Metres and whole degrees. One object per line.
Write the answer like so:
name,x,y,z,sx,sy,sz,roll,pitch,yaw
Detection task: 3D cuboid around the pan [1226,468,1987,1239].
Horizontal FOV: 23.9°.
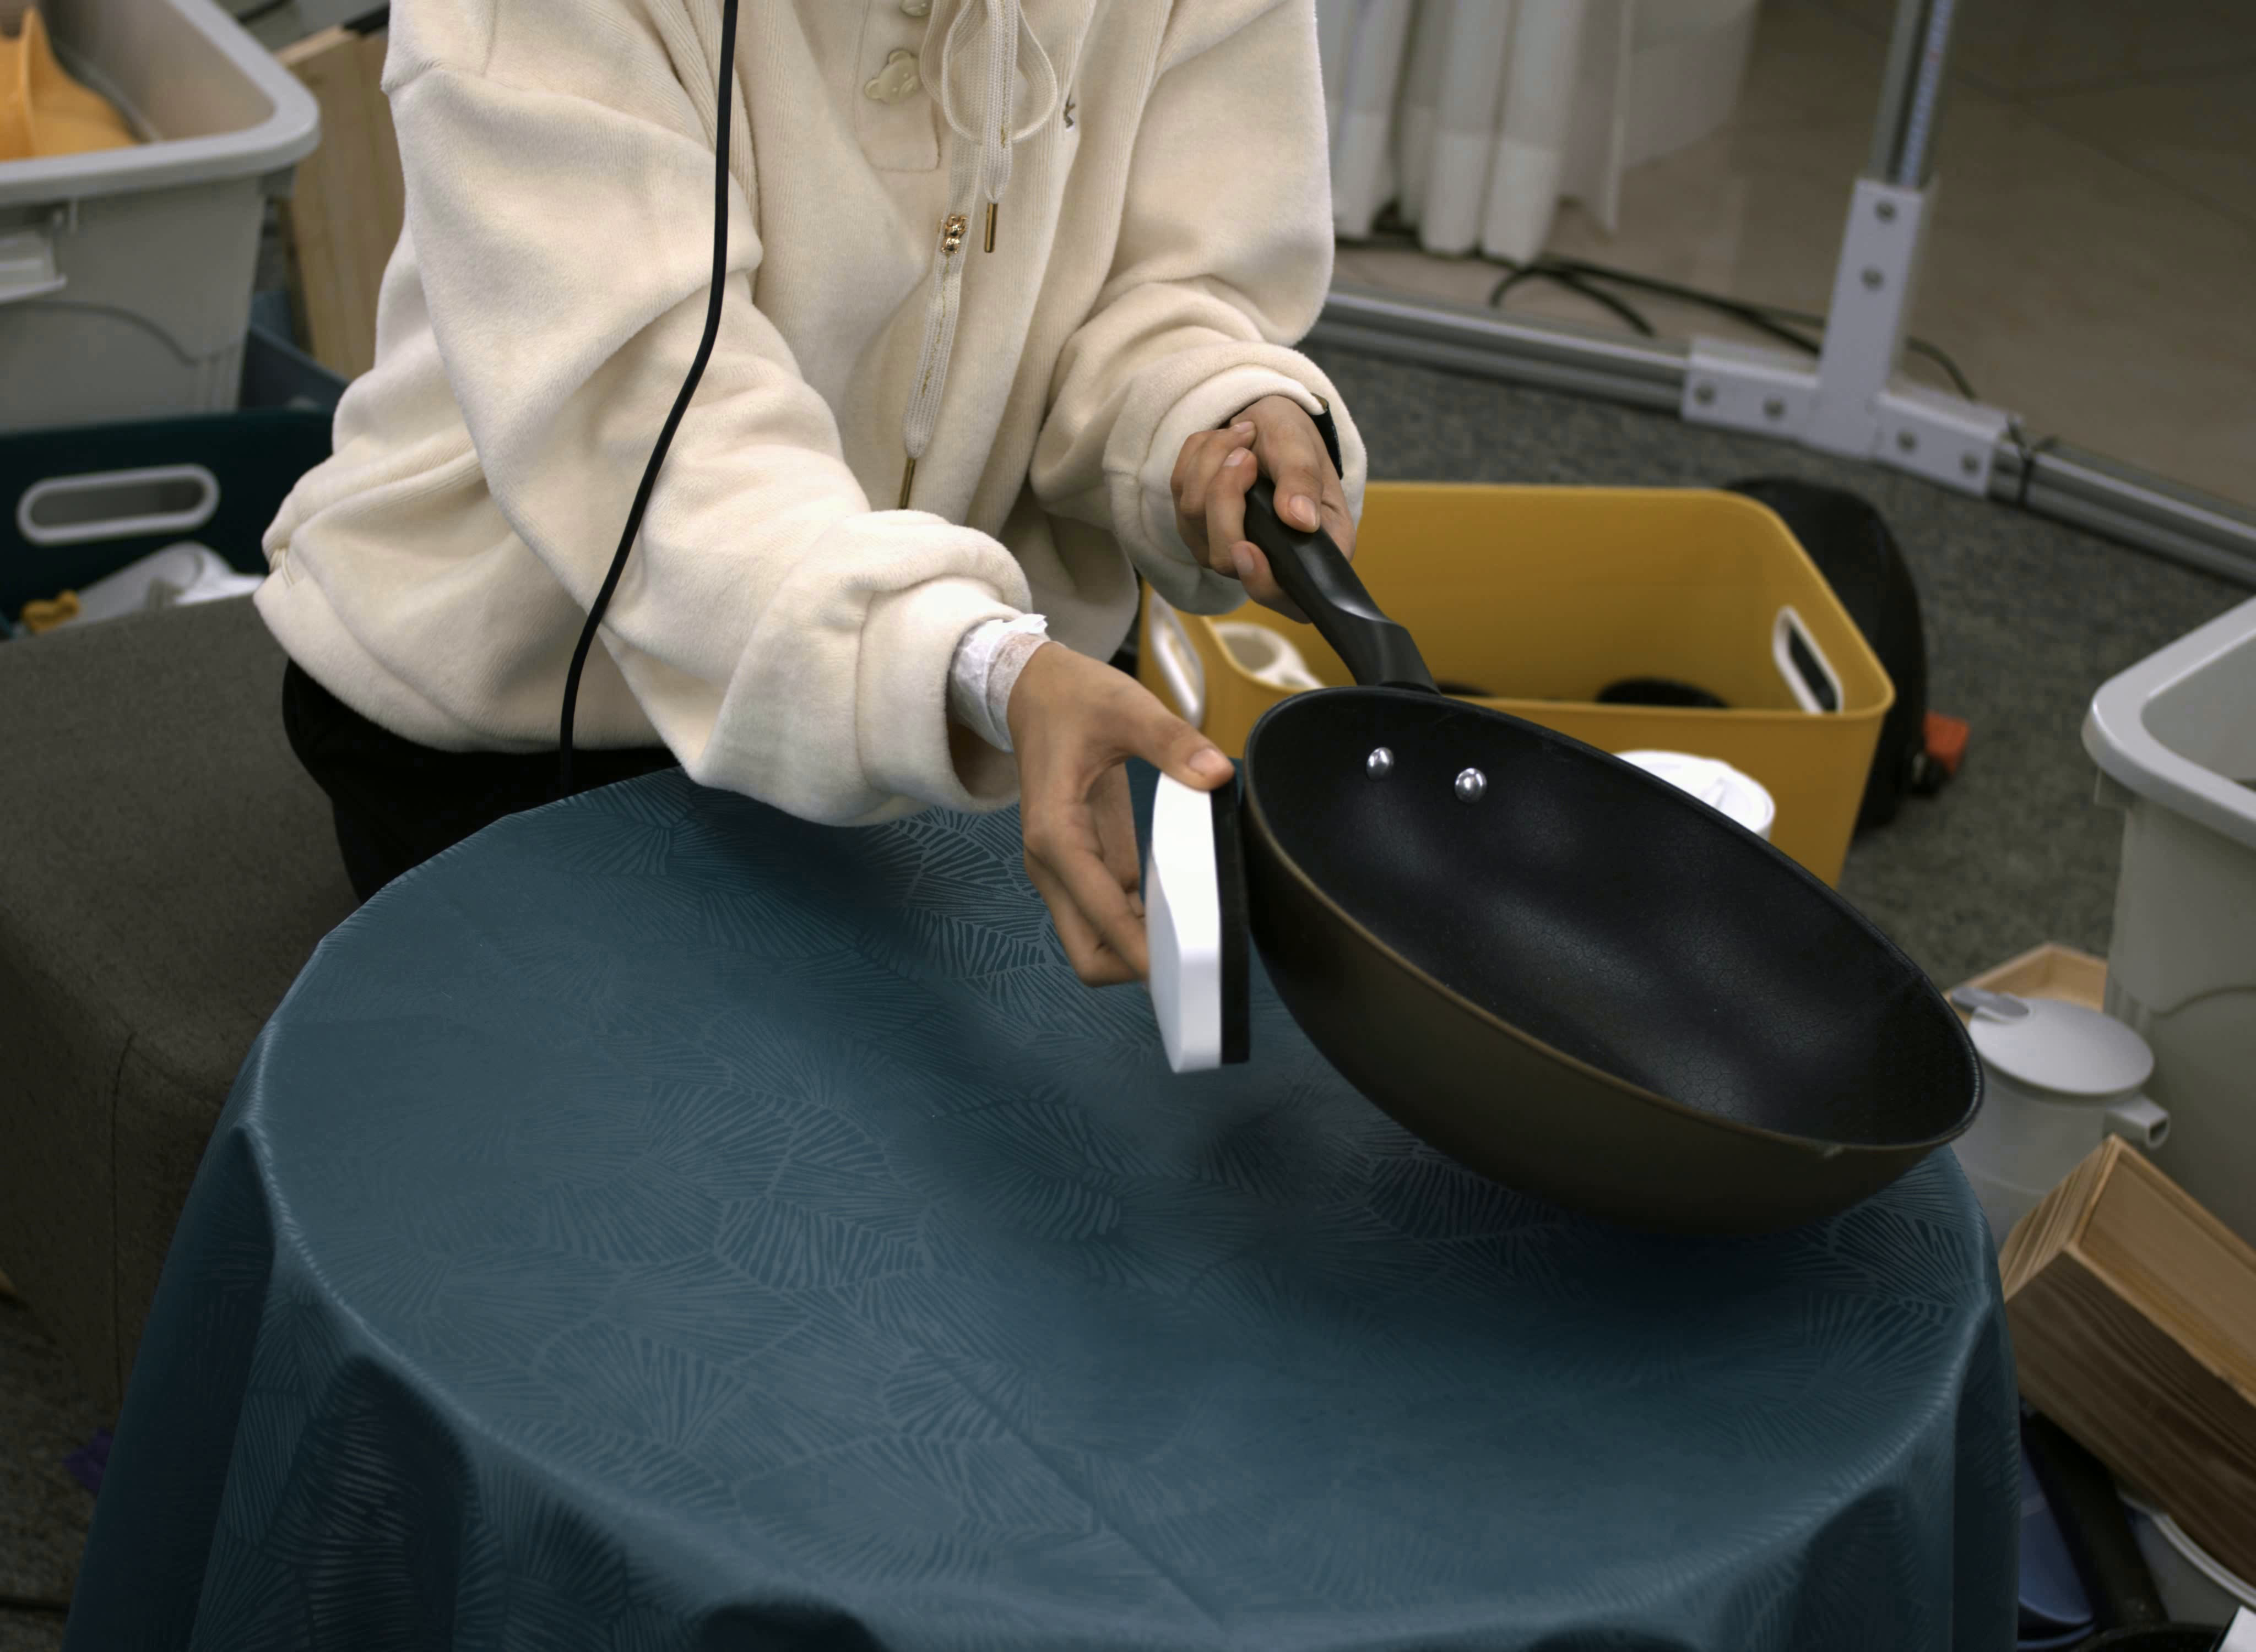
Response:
pan,0.115,0.012,1.893,0.285,0.087,0.468,12,25,-33

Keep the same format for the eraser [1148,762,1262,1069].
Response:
eraser,0.024,0.027,1.764,0.034,0.063,0.132,1,26,-2
